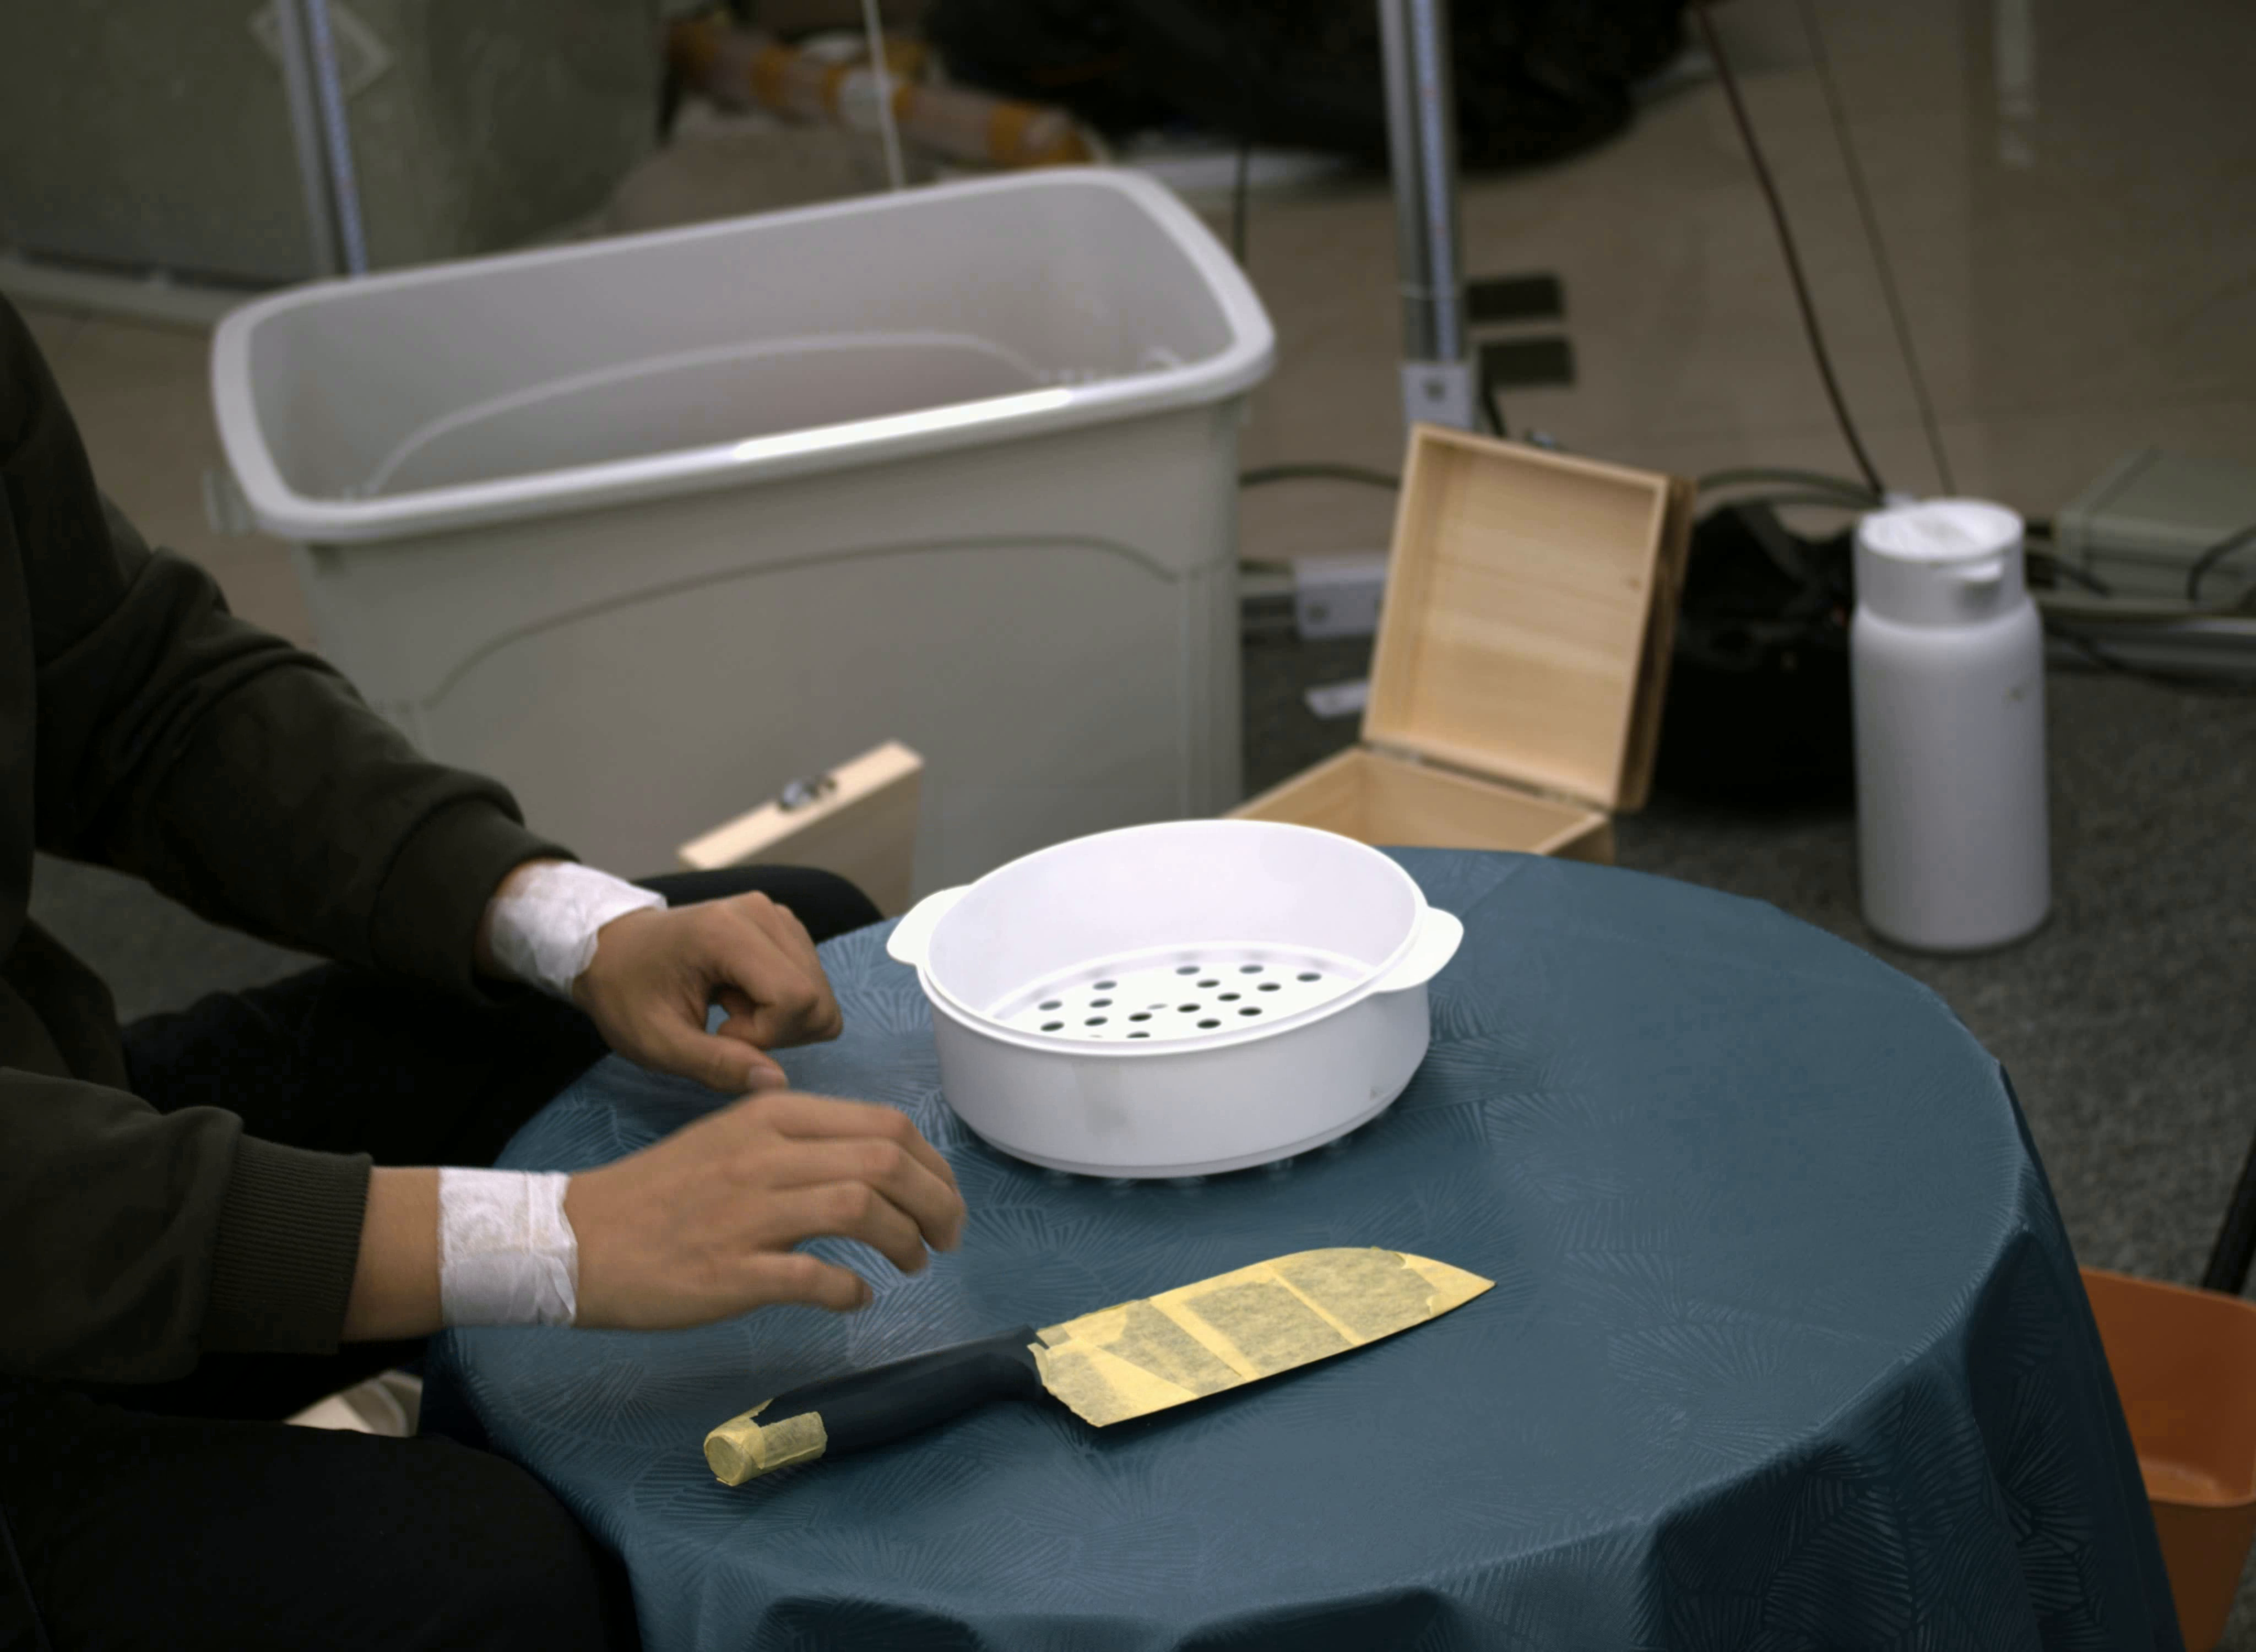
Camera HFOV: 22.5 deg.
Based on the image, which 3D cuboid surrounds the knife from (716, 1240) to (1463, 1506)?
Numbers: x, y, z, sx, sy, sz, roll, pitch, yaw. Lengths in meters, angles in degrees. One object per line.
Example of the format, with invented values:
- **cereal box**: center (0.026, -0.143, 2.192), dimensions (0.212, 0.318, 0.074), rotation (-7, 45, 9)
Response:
- **knife**: center (-0.008, 0.193, 2.019), dimensions (0.288, 0.027, 0.080), rotation (-16, 26, -21)

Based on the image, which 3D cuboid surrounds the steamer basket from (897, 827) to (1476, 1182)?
- **steamer basket**: center (0.025, 0.069, 2.215), dimensions (0.230, 0.070, 0.199), rotation (2, 25, 21)
